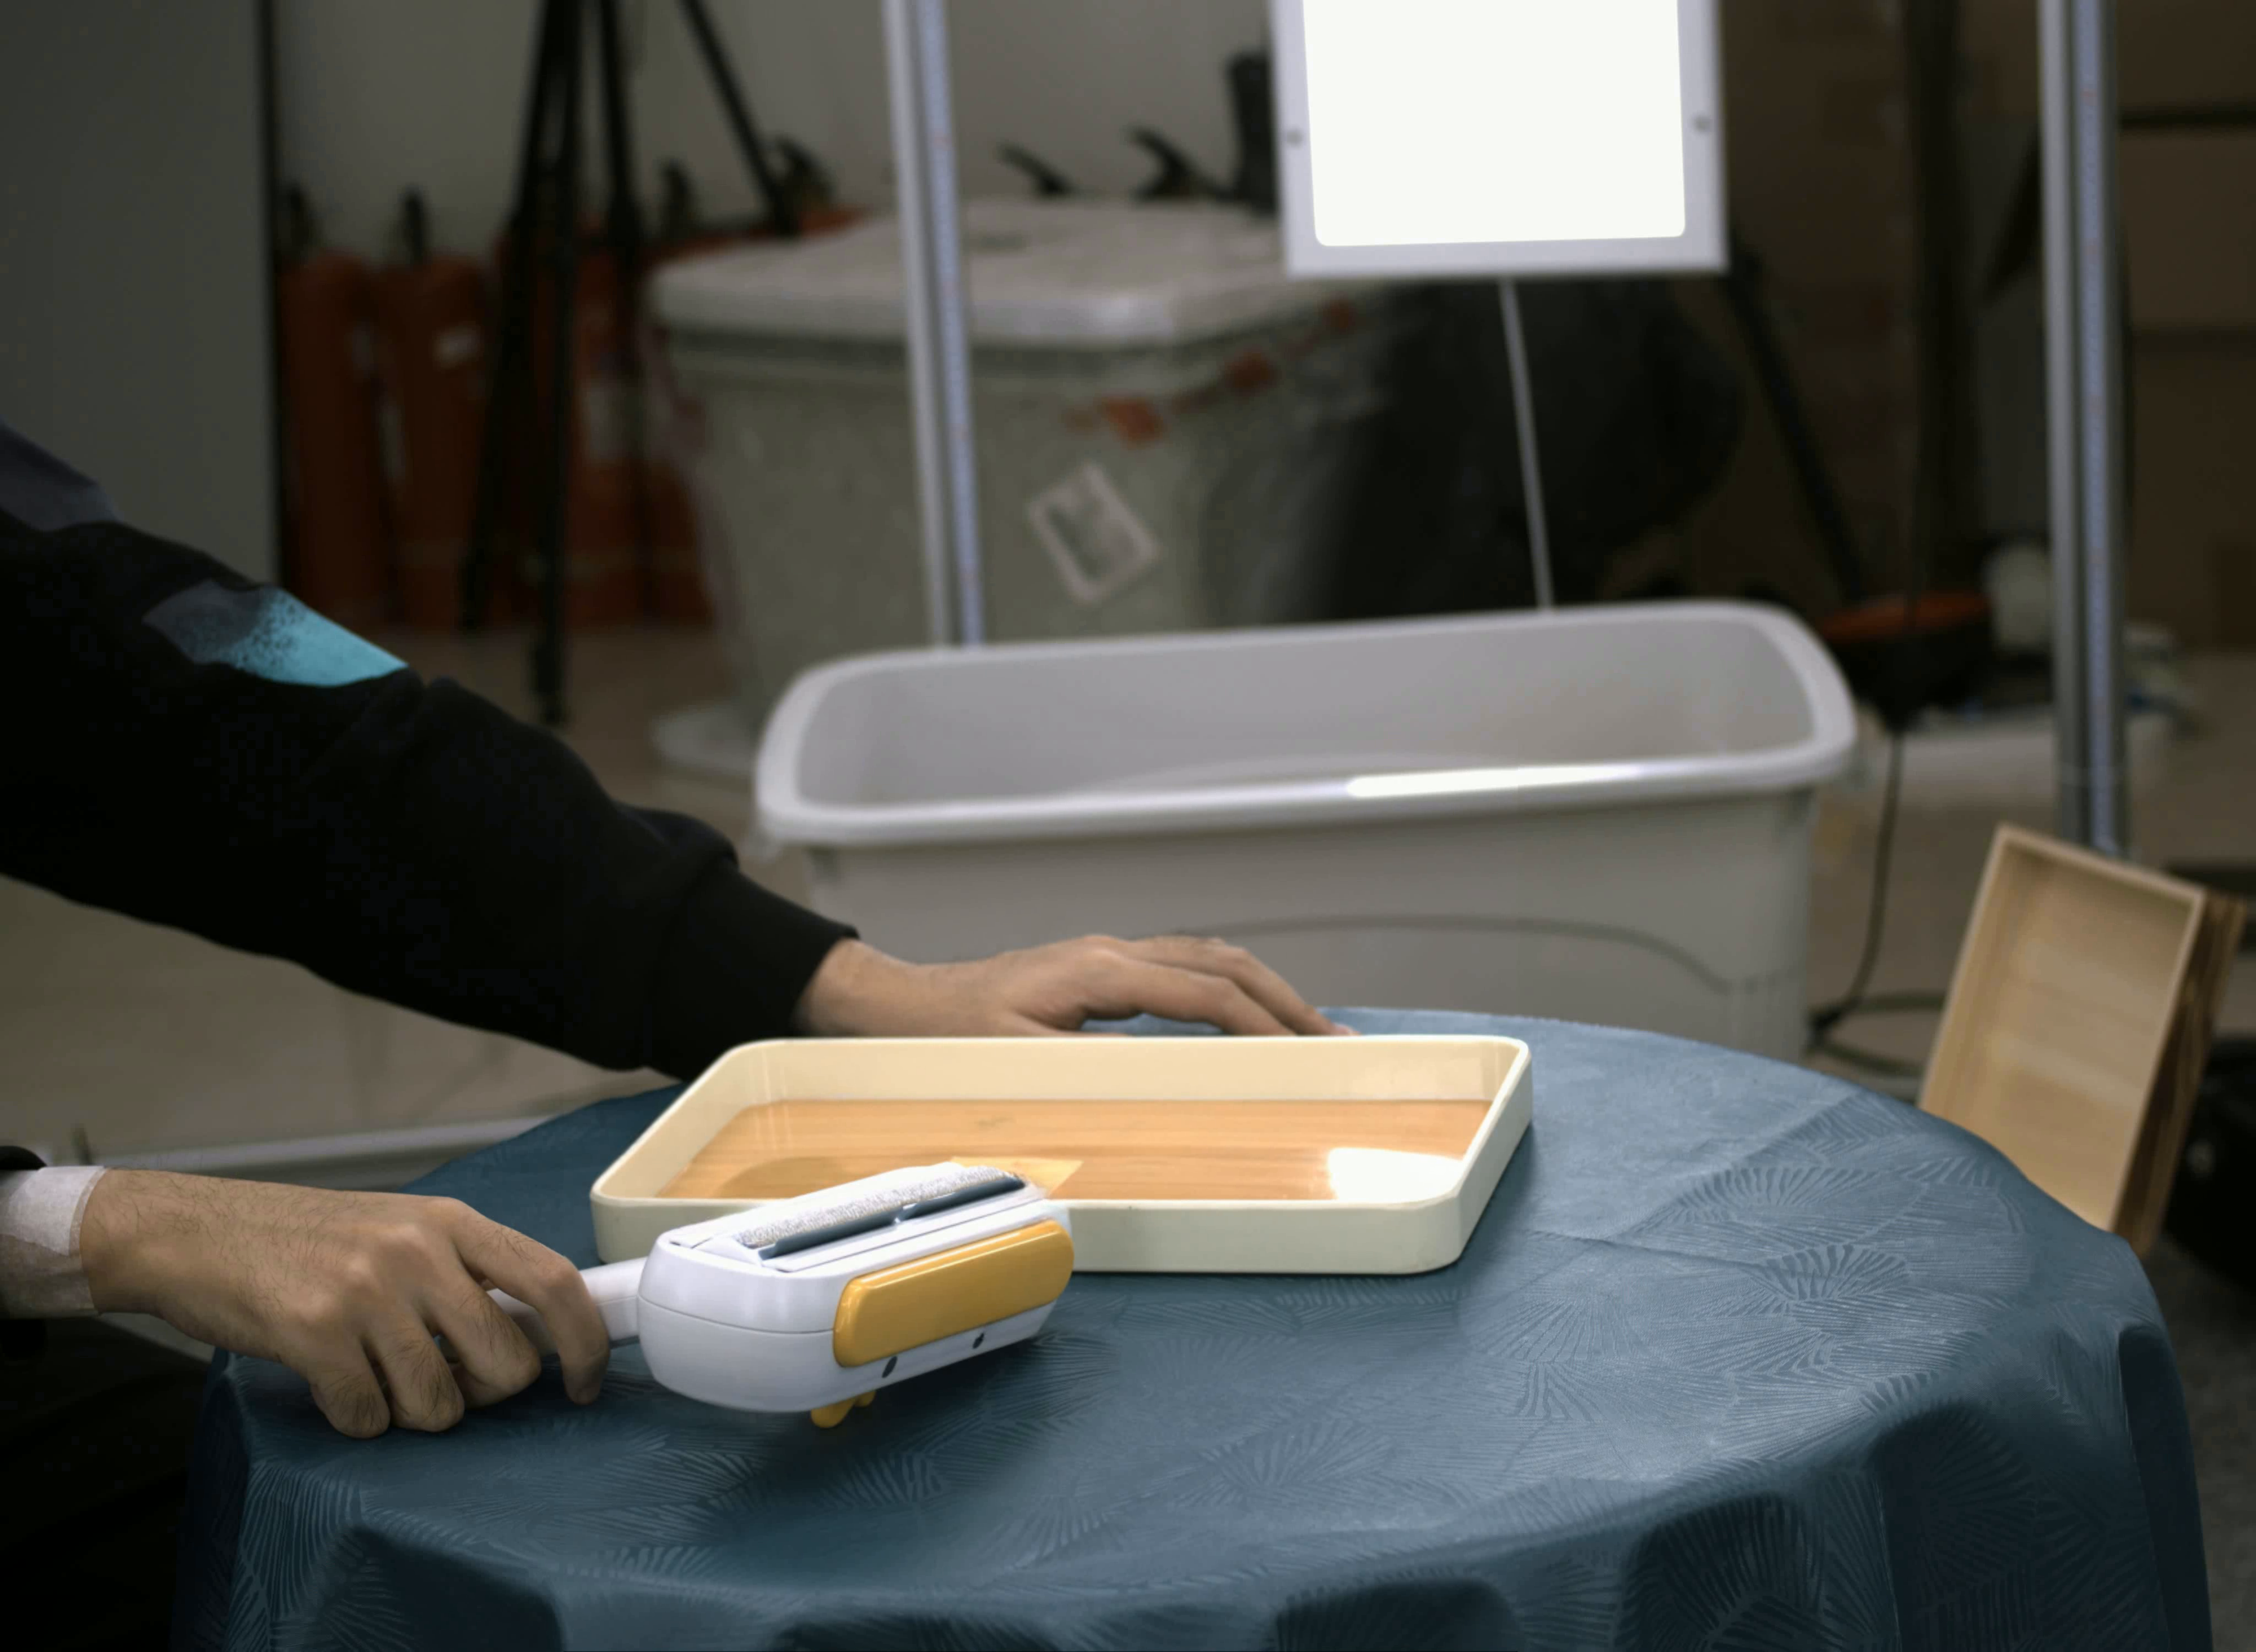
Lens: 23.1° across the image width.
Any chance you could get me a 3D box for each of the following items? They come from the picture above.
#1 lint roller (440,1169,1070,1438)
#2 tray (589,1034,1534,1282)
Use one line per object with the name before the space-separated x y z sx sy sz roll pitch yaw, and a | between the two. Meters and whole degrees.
lint roller | -0.135 0.147 1.721 0.196 0.074 0.188 2 10 32
tray | -0.019 0.113 1.901 0.303 0.027 0.189 -1 15 16
